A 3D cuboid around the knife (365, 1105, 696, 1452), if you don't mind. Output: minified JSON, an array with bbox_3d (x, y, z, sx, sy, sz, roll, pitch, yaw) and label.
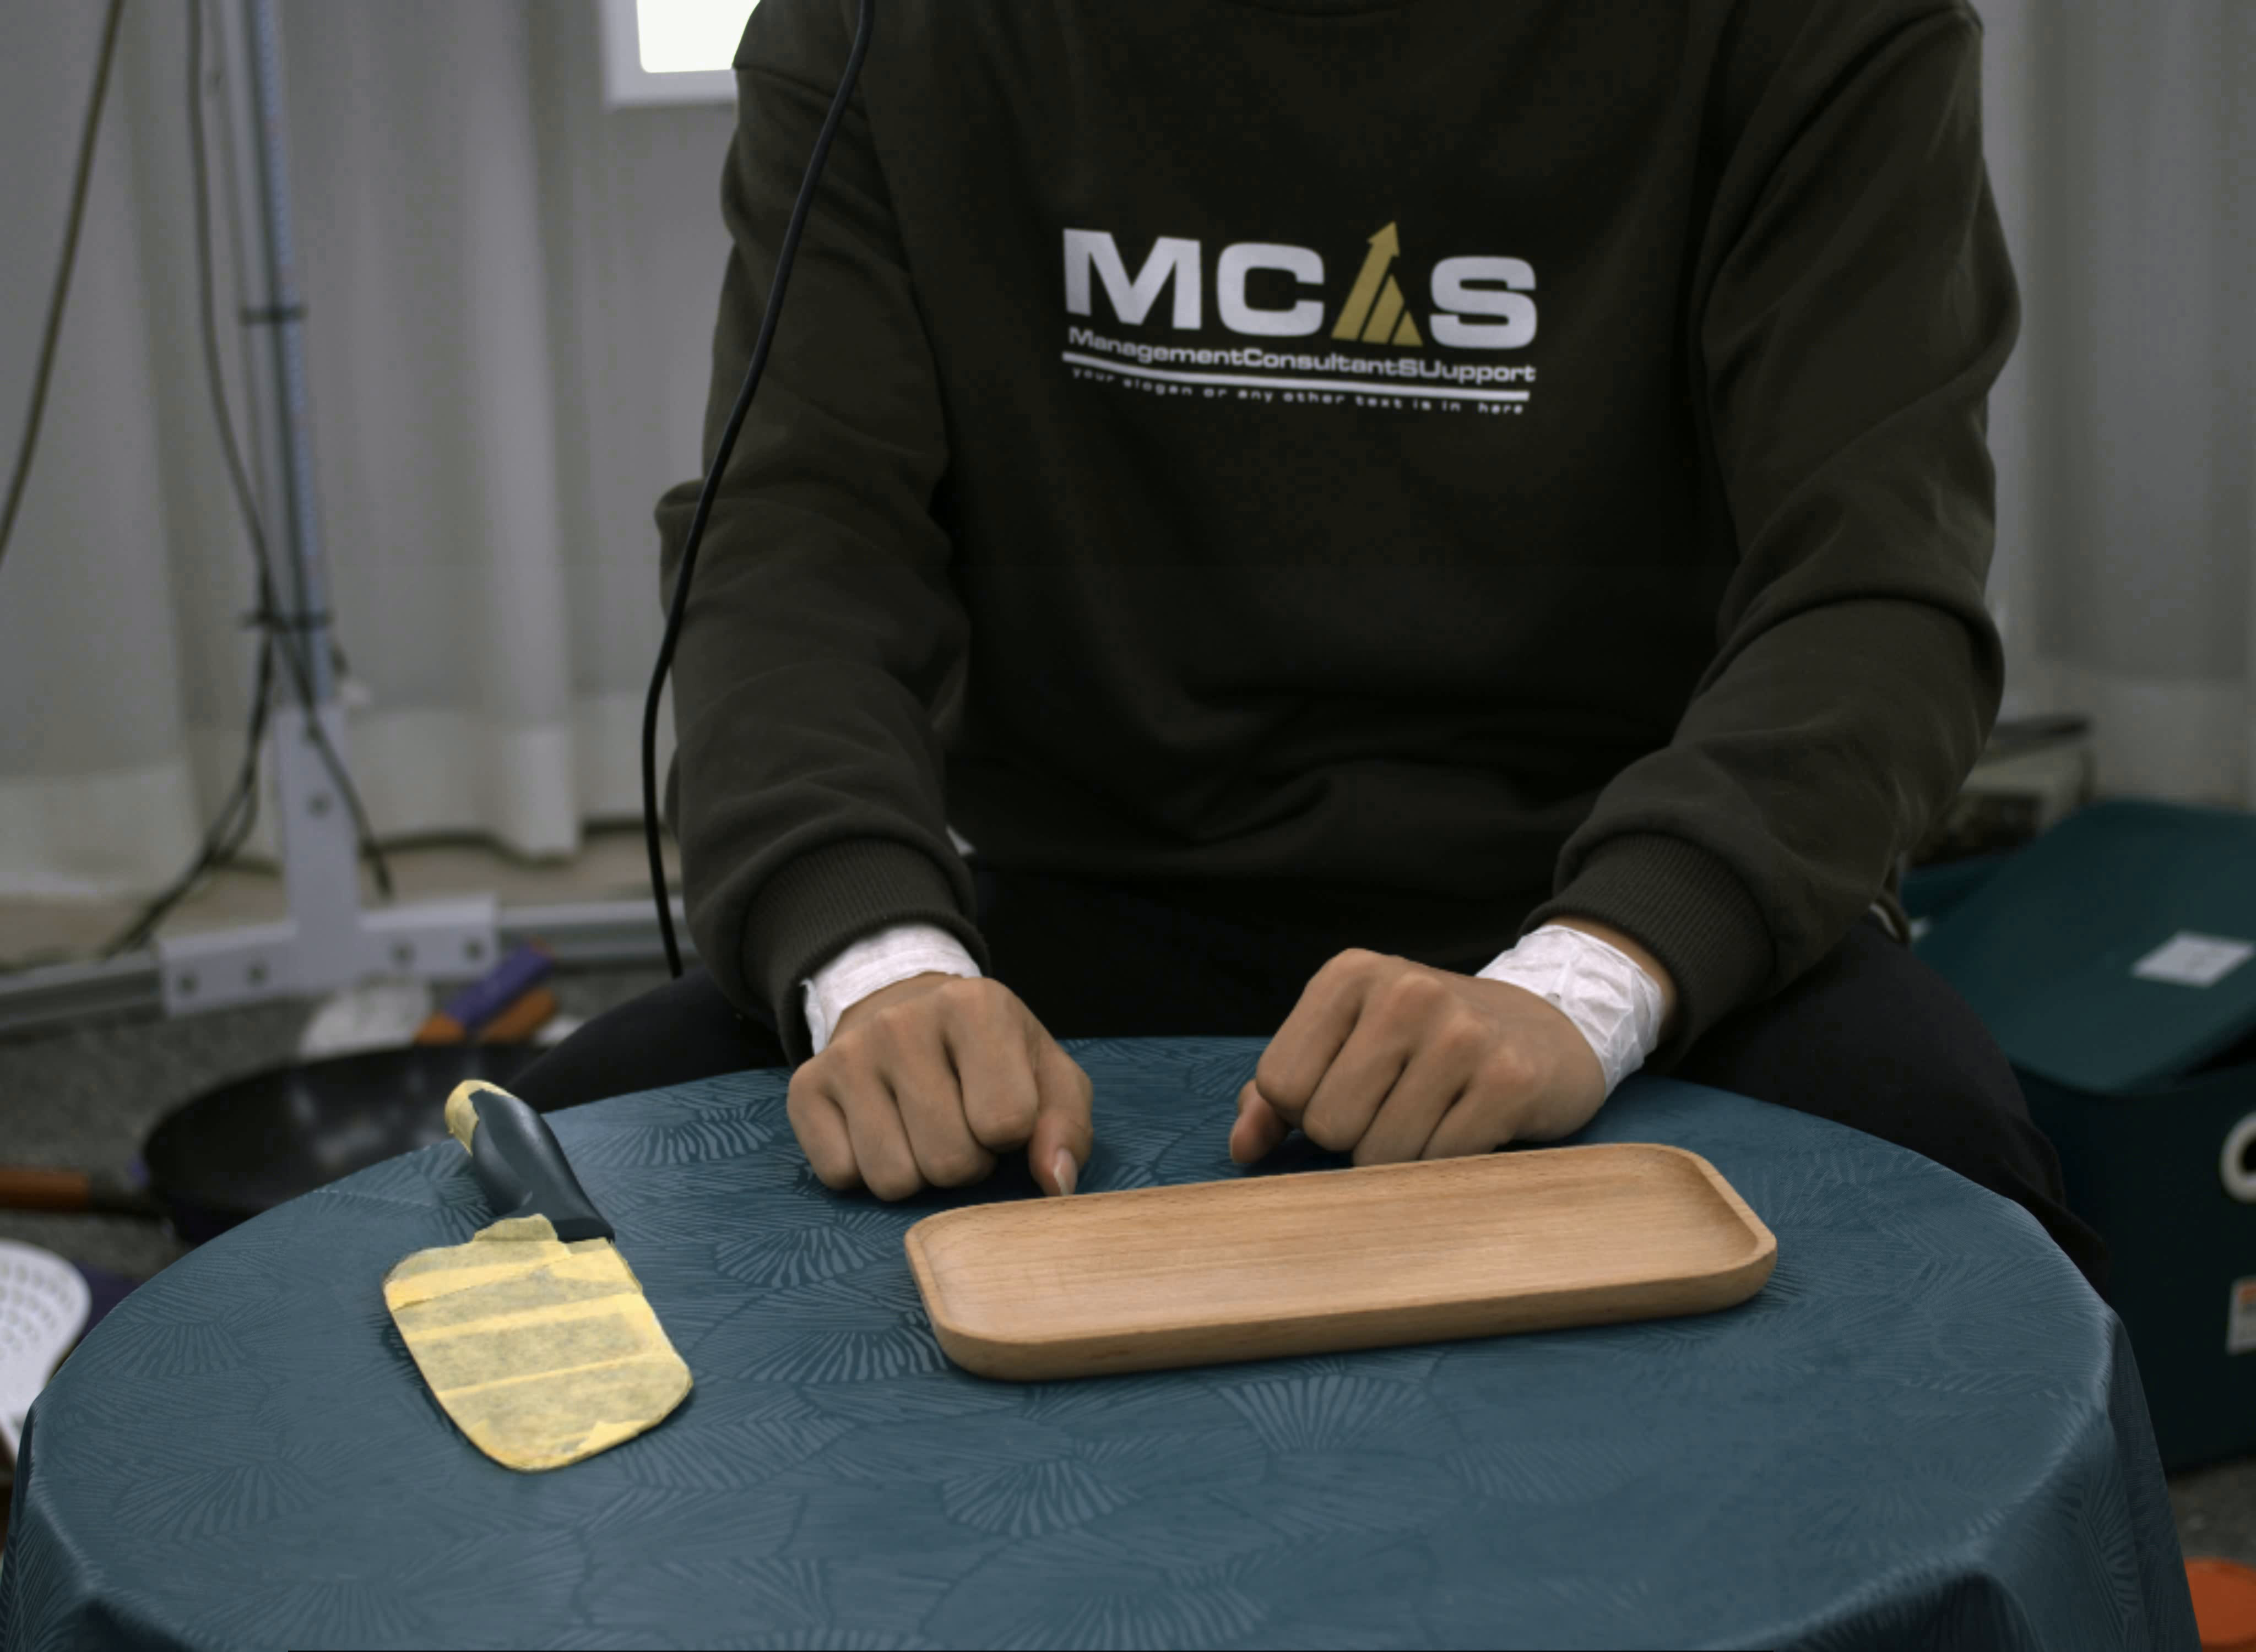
[{"bbox_3d":[-0.187,0.136,1.644,0.080,0.027,0.292,-5,16,-14],"label":"knife"}]

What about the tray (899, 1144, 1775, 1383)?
[{"bbox_3d":[0.060,0.129,1.620,0.249,0.023,0.131,-5,12,-8],"label":"tray"}]
